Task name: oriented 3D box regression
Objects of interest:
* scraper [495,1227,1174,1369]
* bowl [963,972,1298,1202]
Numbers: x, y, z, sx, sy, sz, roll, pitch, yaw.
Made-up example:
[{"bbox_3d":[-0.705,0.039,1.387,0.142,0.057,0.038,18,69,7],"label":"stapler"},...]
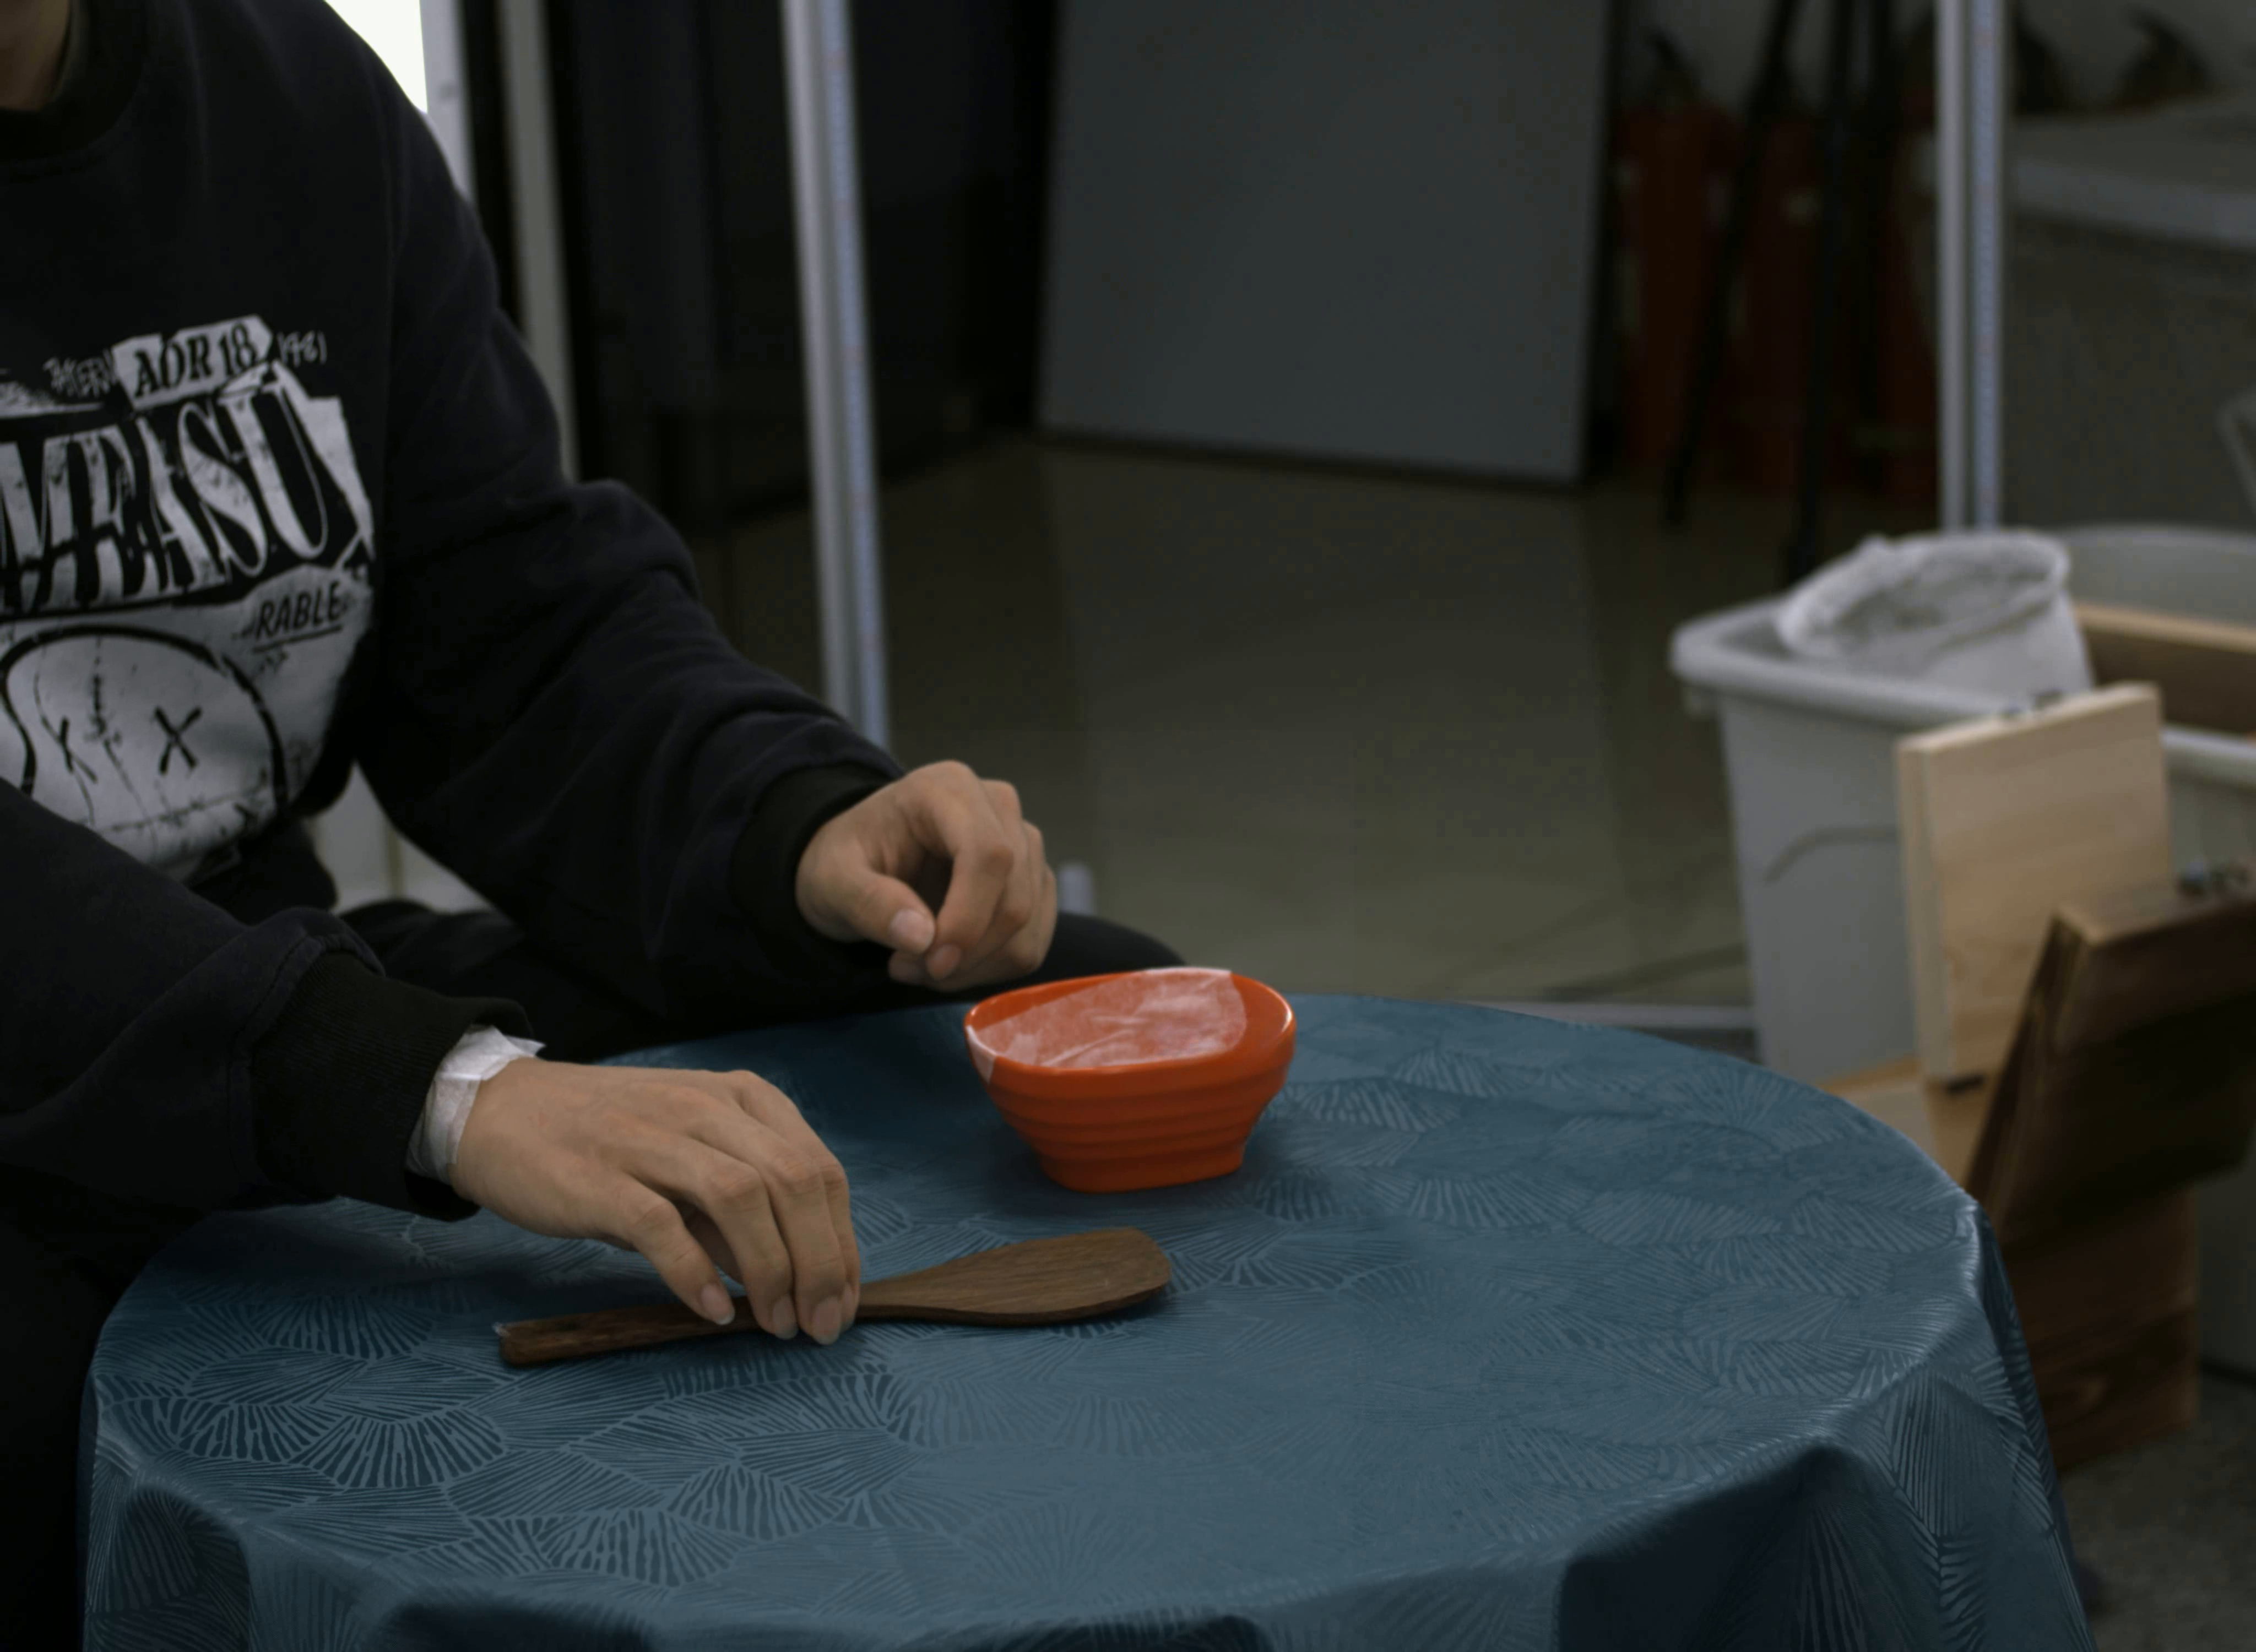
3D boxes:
[{"bbox_3d":[-0.090,0.149,1.666,0.207,0.011,0.076,-7,12,-9],"label":"scraper"},{"bbox_3d":[0.002,0.089,1.798,0.117,0.052,0.119,-4,15,0],"label":"bowl"}]
